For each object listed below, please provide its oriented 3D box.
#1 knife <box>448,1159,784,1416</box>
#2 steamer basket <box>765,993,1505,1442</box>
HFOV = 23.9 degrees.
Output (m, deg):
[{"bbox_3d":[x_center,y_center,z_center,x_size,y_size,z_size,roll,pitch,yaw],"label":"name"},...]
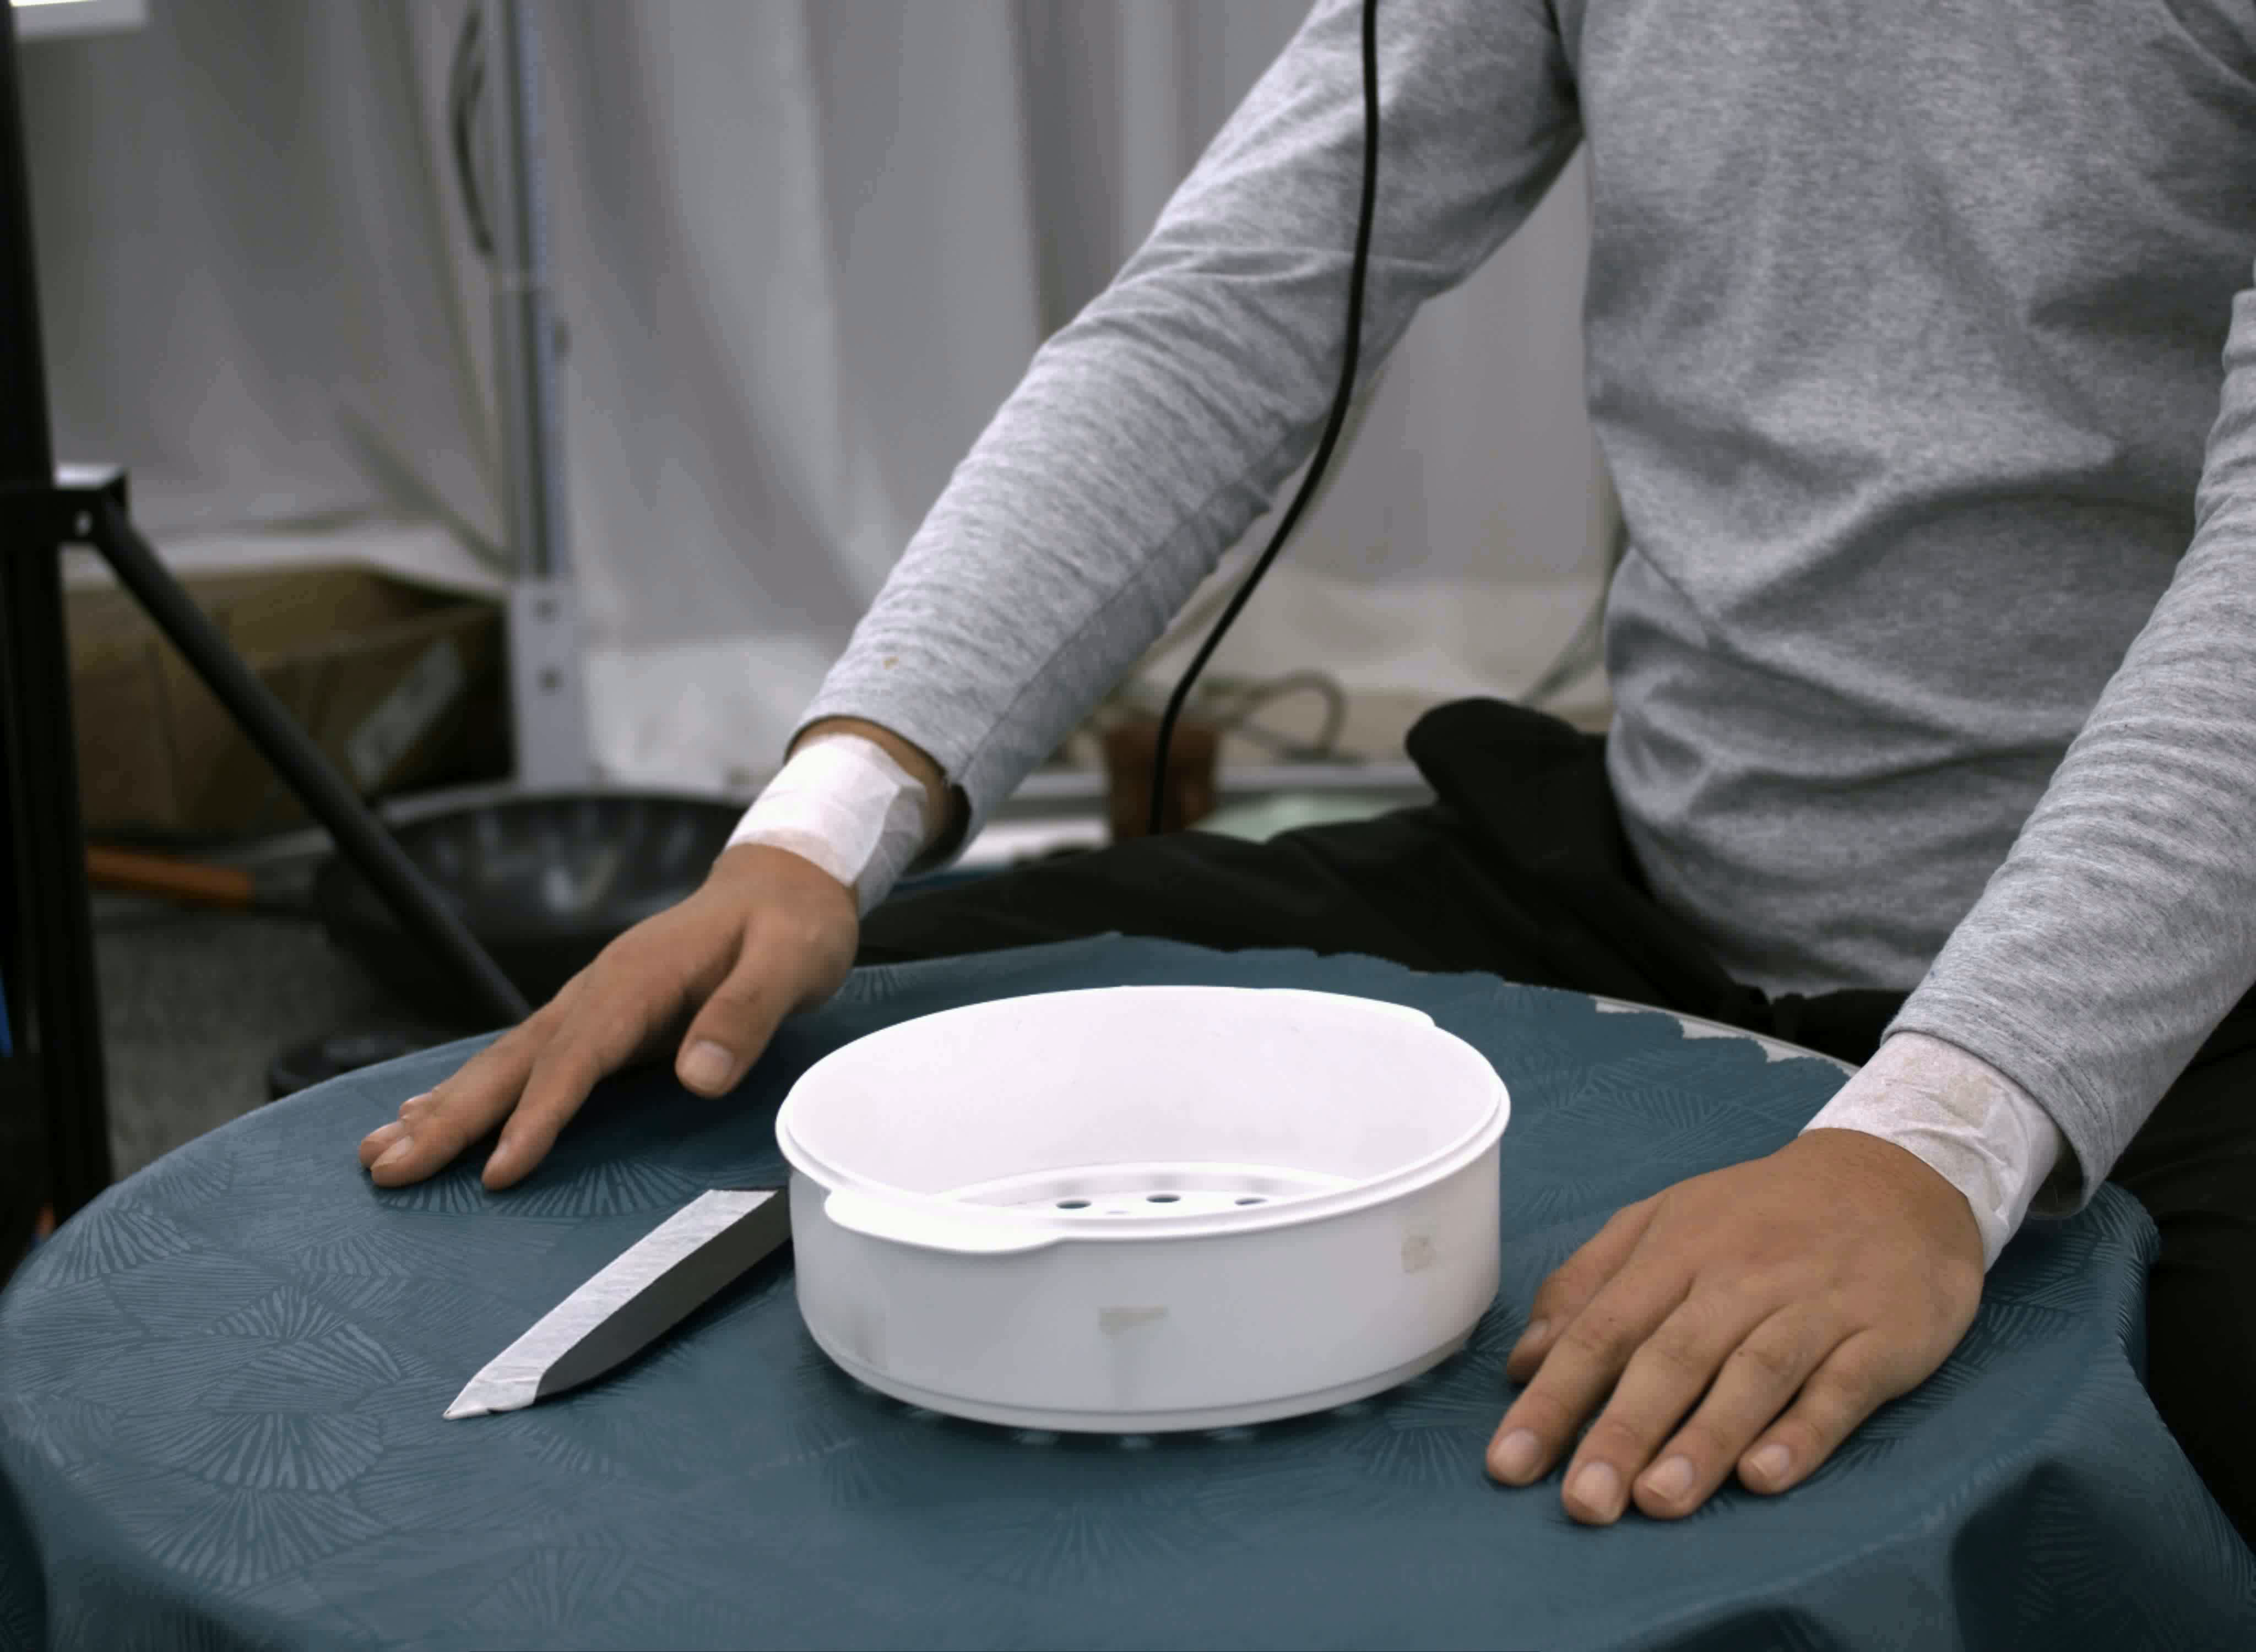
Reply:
[{"bbox_3d":[-0.111,0.114,1.530,0.051,0.020,0.284,1,18,29],"label":"knife"},{"bbox_3d":[0.002,0.106,1.446,0.206,0.069,0.226,9,18,33],"label":"steamer basket"}]
